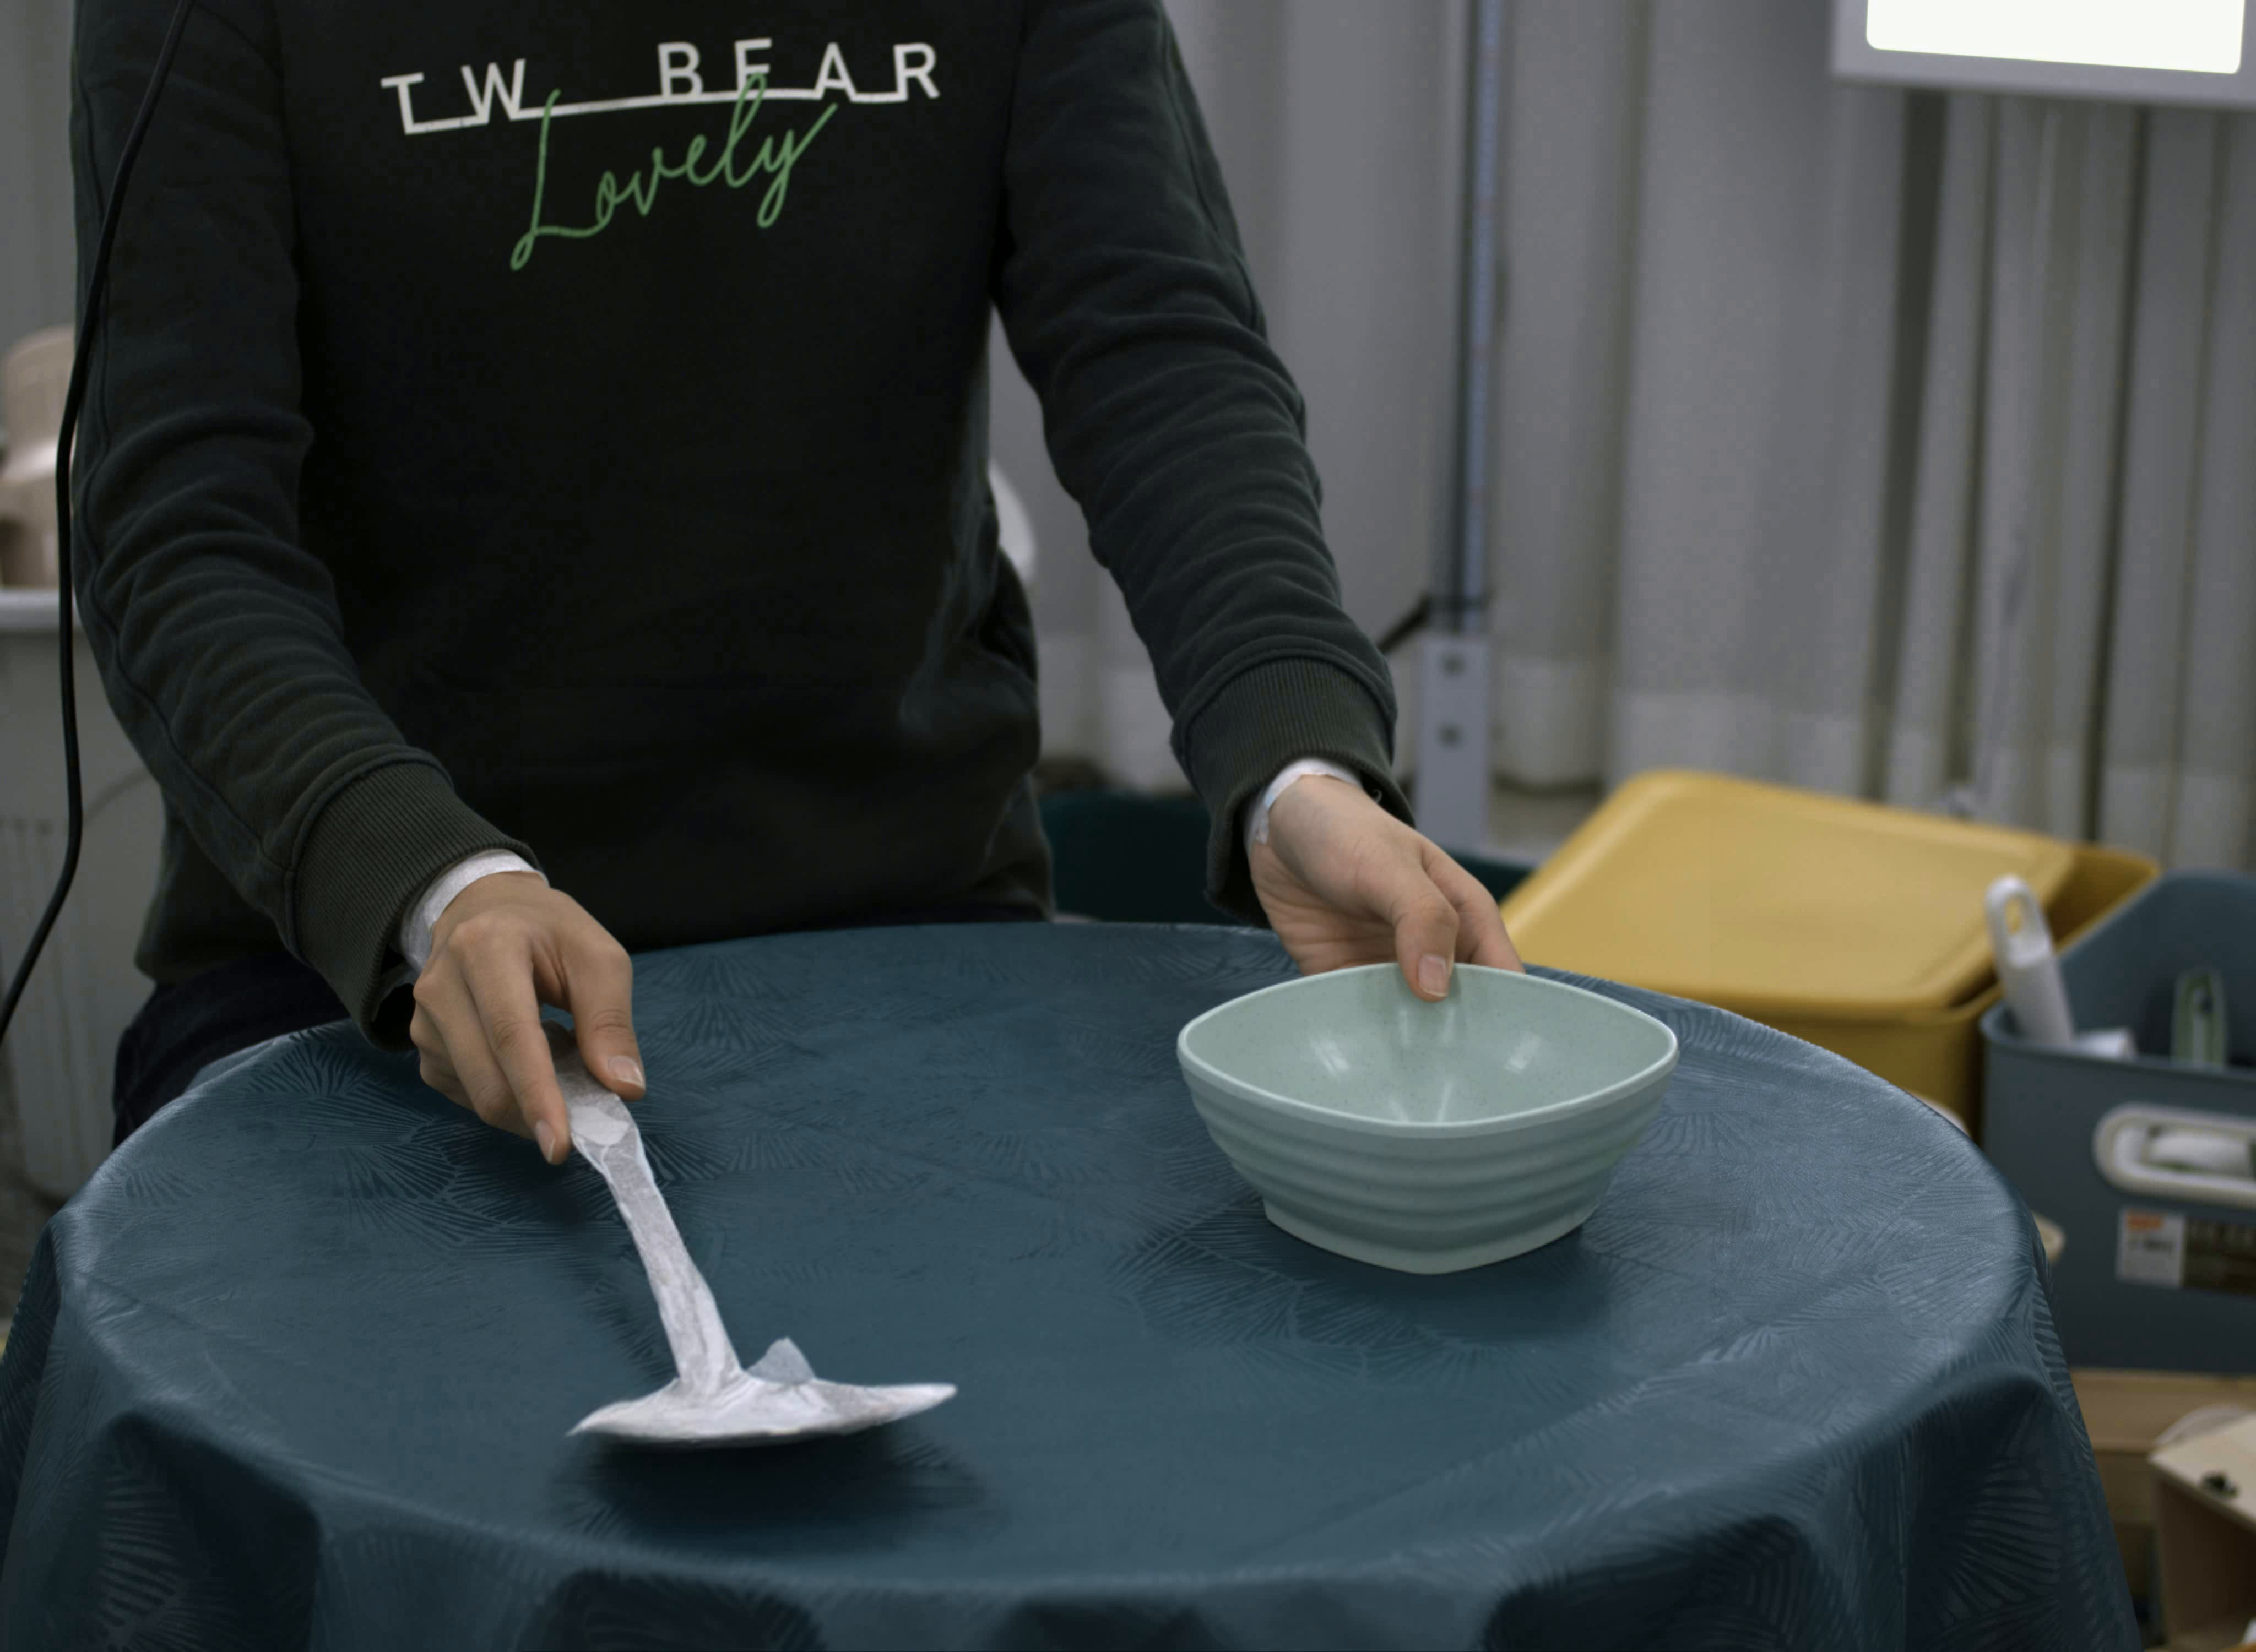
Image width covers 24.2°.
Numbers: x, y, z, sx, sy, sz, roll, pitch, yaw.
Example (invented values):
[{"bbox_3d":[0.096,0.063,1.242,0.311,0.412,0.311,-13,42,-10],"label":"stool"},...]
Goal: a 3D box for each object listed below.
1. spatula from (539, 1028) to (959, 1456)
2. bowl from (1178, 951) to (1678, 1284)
[{"bbox_3d":[-0.134,0.111,1.522,0.099,0.045,0.361,-6,22,-15],"label":"spatula"},{"bbox_3d":[0.090,0.092,1.596,0.151,0.059,0.150,1,20,0],"label":"bowl"}]
